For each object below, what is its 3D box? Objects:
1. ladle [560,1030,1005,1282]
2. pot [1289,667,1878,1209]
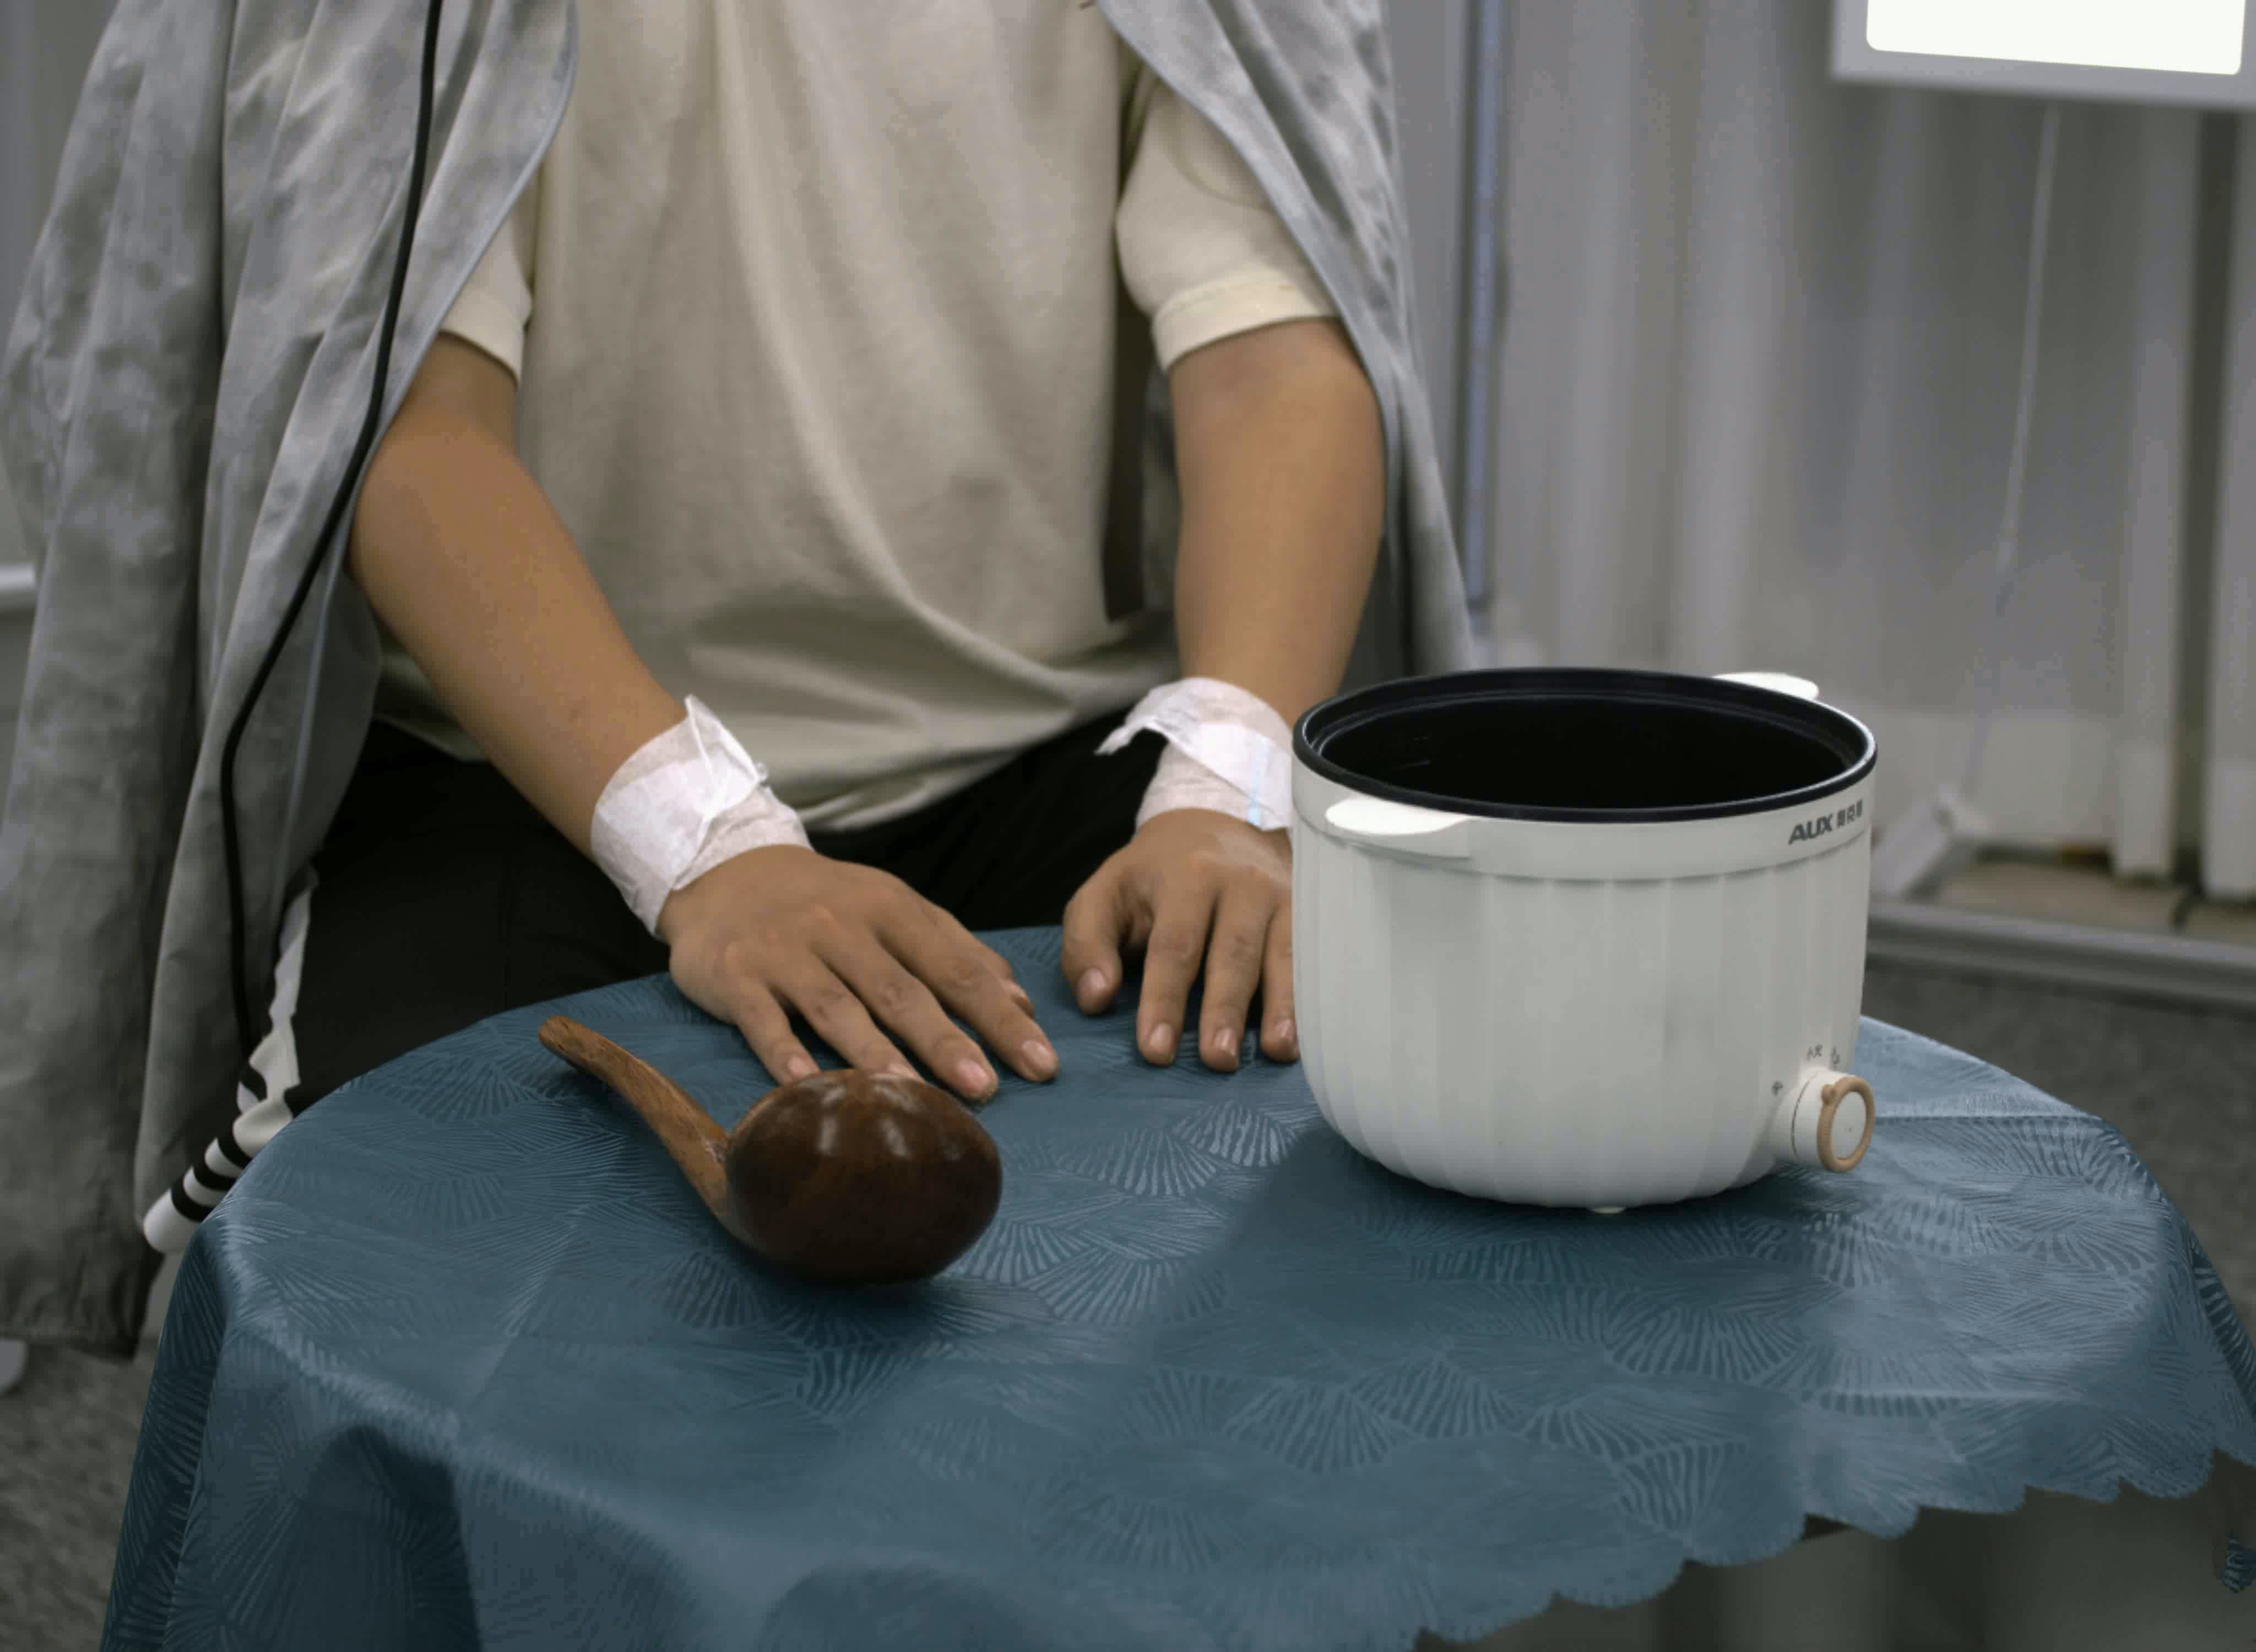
[{"bbox_3d":[-0.115,0.078,1.615,0.083,0.076,0.271,39,-3,-24],"label":"ladle"},{"bbox_3d":[0.145,0.036,1.646,0.188,0.144,0.241,8,18,37],"label":"pot"}]
